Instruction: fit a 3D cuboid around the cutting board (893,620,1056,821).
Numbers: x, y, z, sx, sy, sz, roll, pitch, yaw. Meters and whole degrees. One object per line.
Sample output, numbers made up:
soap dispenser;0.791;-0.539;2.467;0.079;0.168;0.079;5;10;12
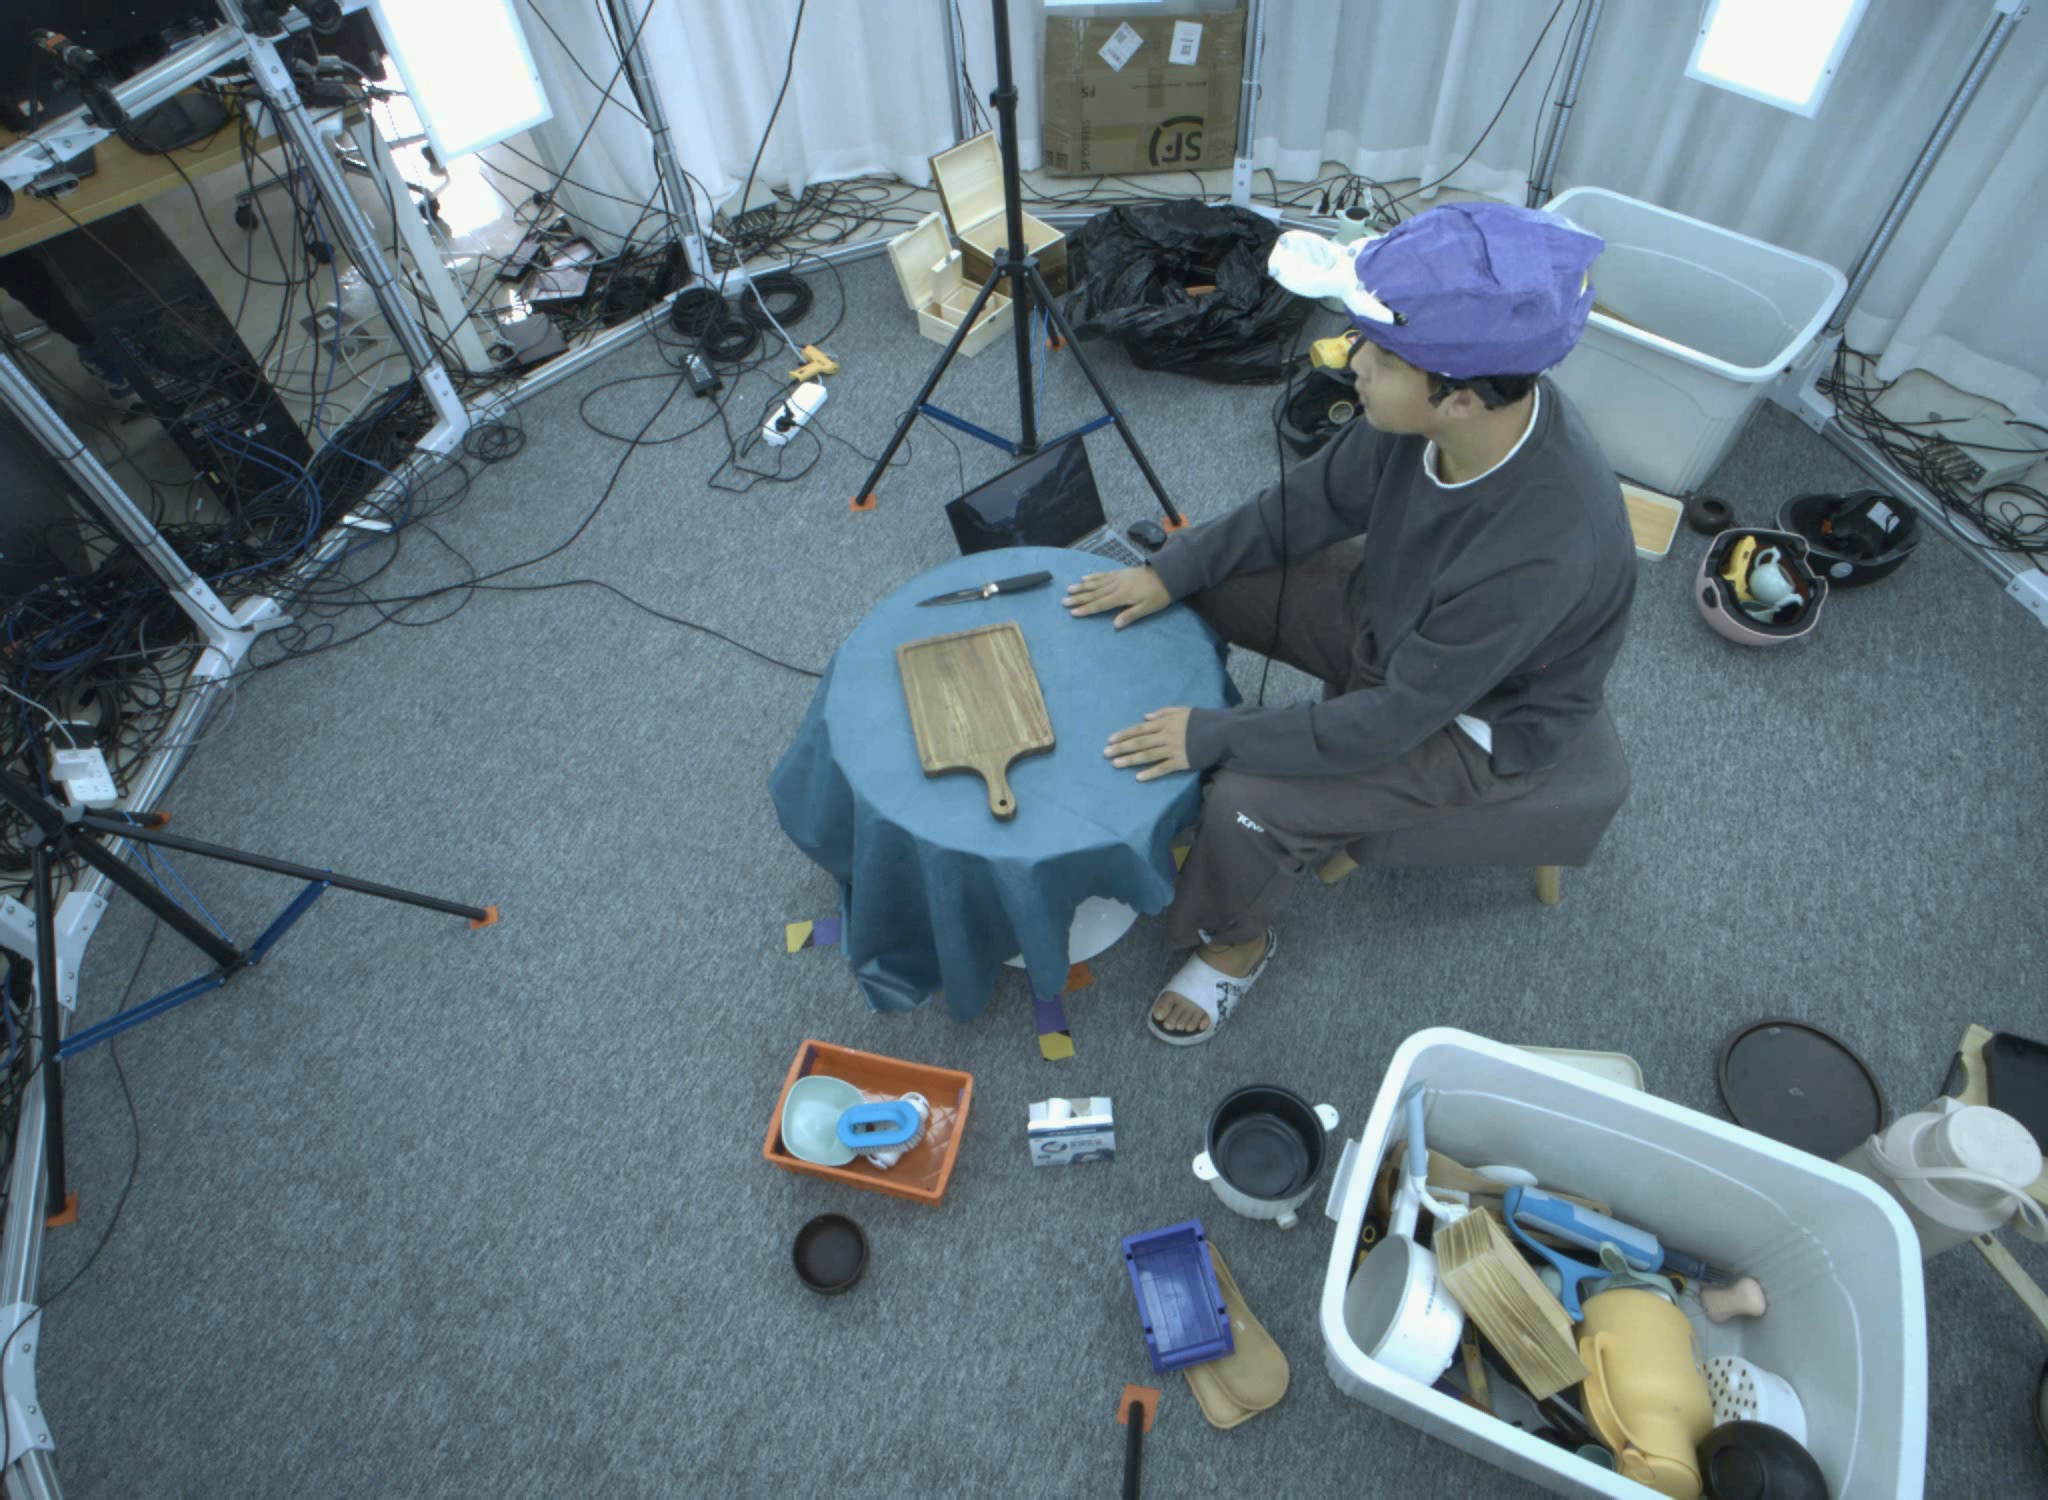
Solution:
cutting board;-0.066;-0.043;1.807;0.202;0.023;0.346;-12;56;-7

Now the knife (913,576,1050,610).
knife;-0.069;-0.251;1.960;0.226;0.017;0.026;-11;60;-5
